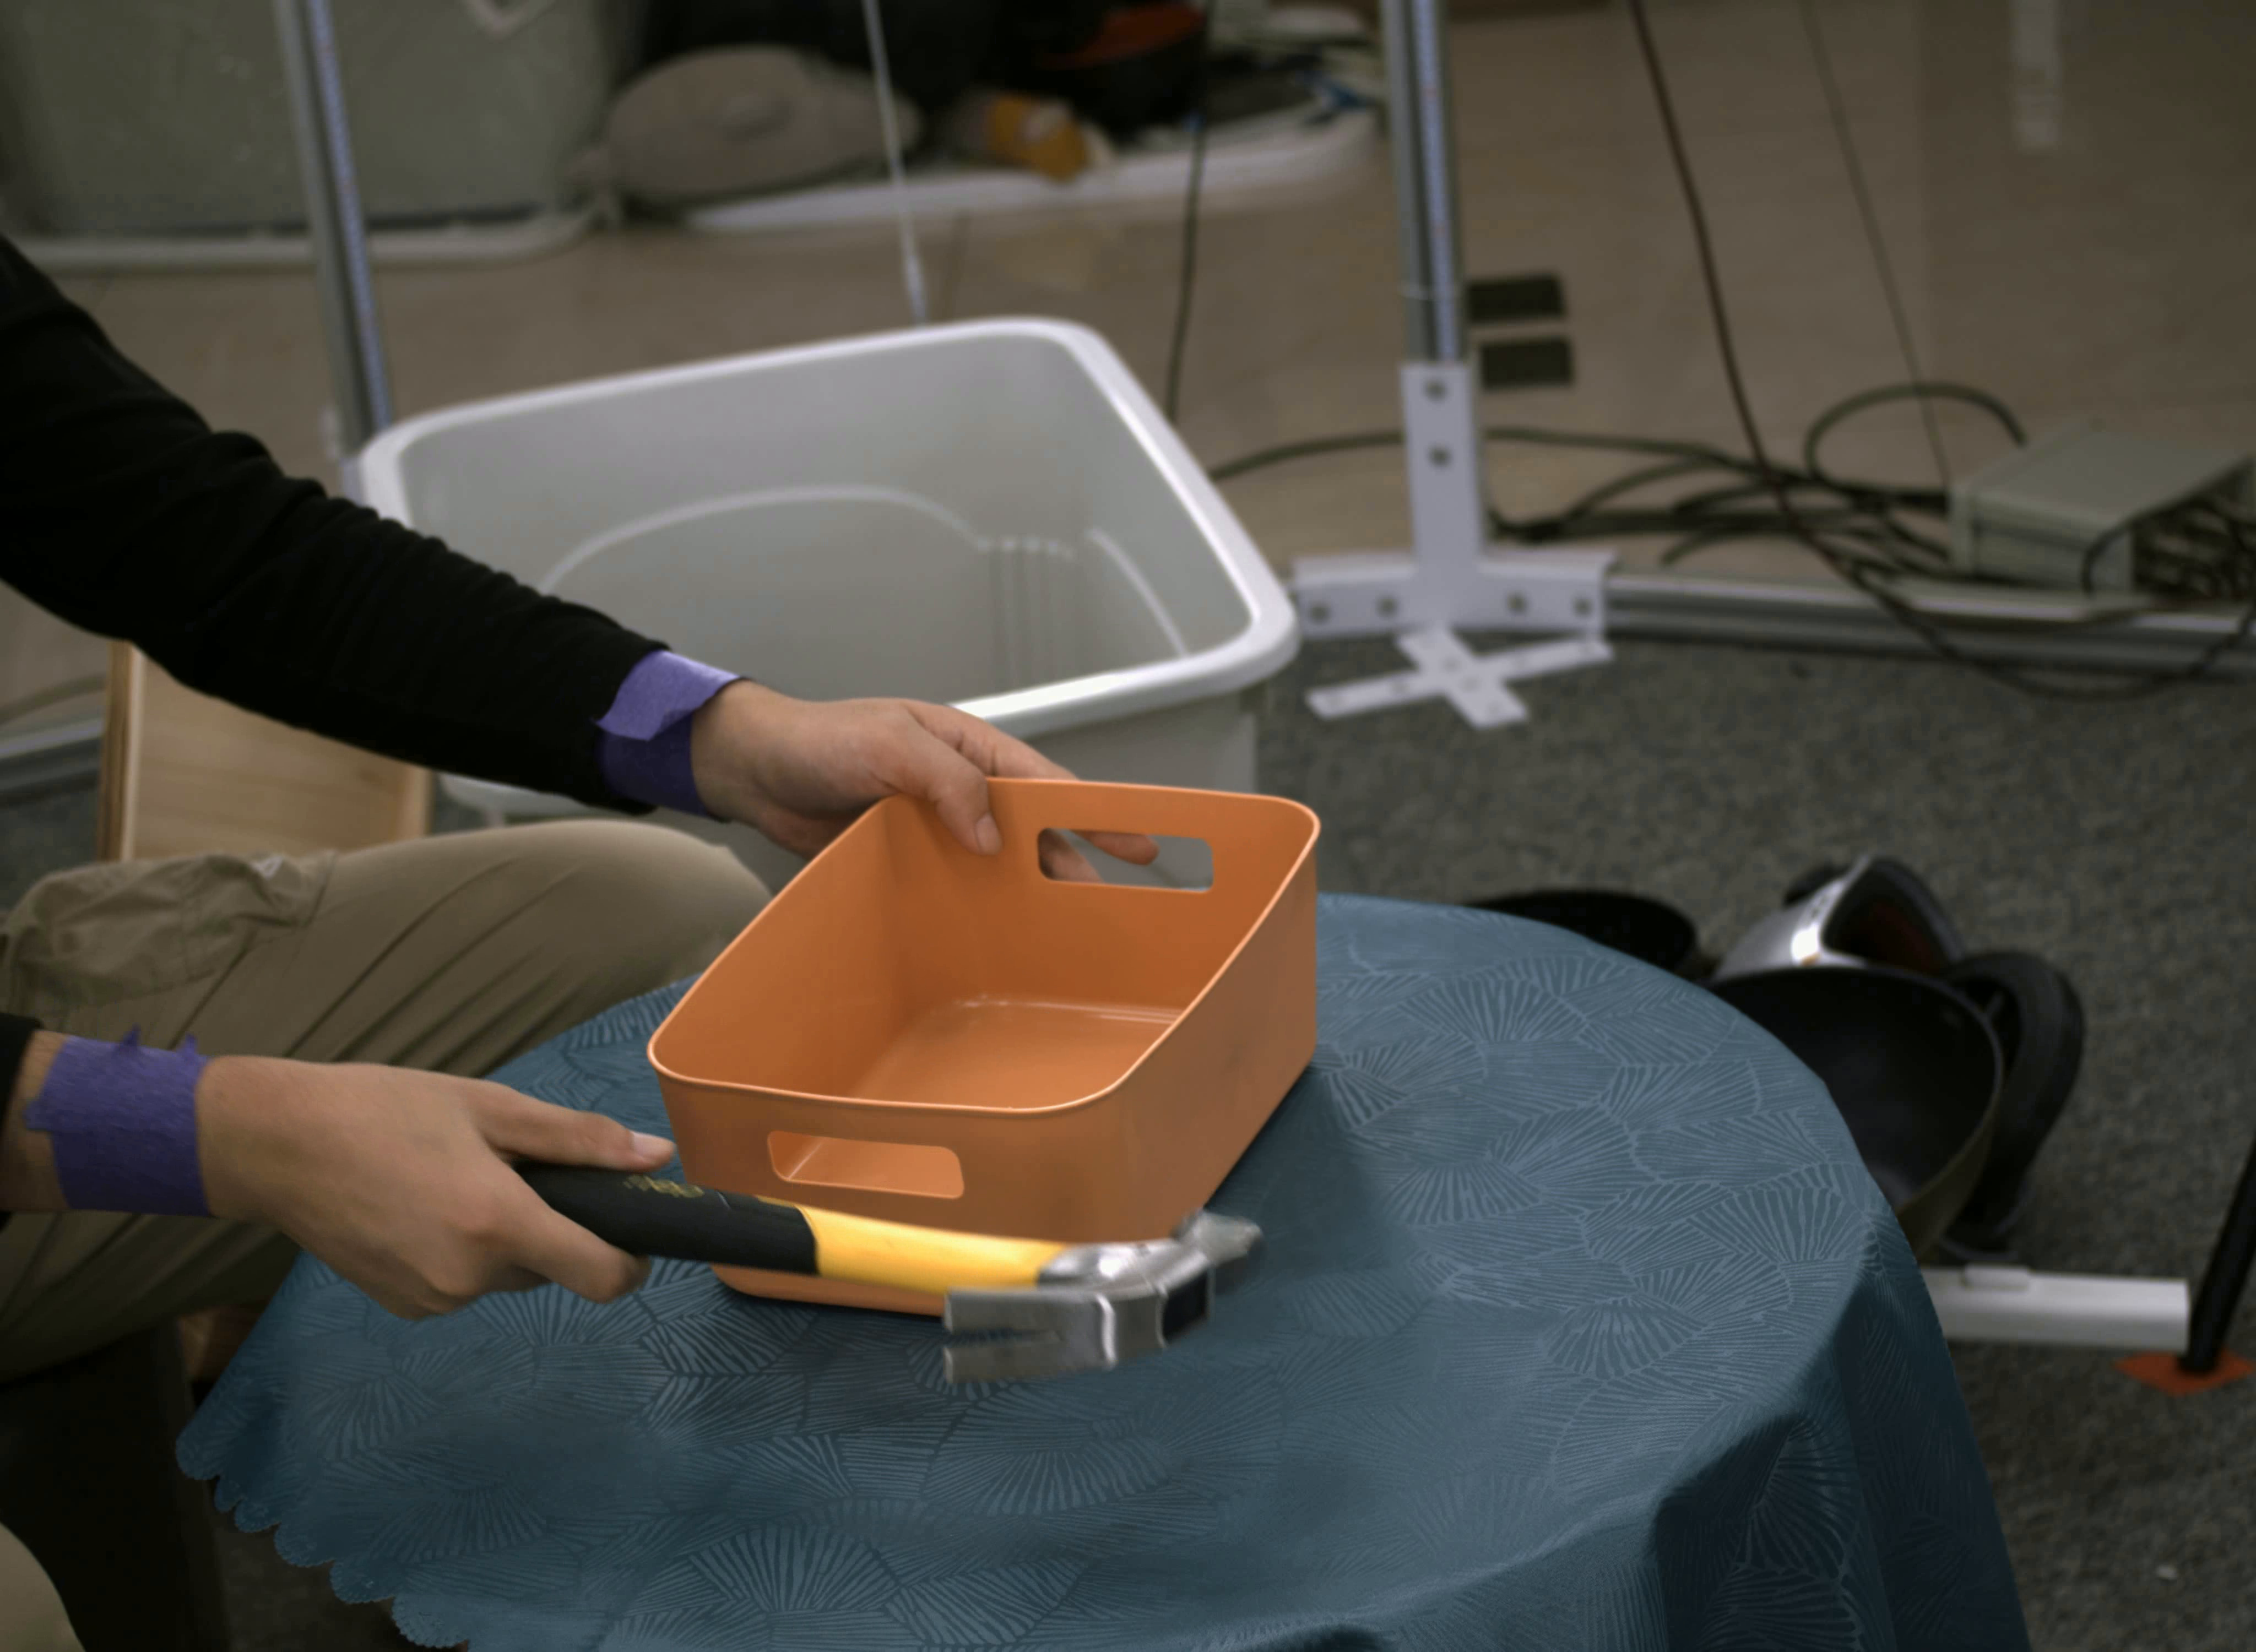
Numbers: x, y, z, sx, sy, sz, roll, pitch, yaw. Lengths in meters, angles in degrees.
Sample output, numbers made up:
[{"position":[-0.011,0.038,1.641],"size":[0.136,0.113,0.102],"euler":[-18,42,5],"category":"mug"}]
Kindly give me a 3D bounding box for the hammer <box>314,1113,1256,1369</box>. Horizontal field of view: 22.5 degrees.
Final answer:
[{"position":[-0.134,0.135,1.961],"size":[0.337,0.032,0.130],"euler":[8,16,25],"category":"hammer"}]

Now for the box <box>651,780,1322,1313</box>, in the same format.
[{"position":[-0.046,0.085,2.154],"size":[0.199,0.104,0.269],"euler":[3,26,22],"category":"box"}]
